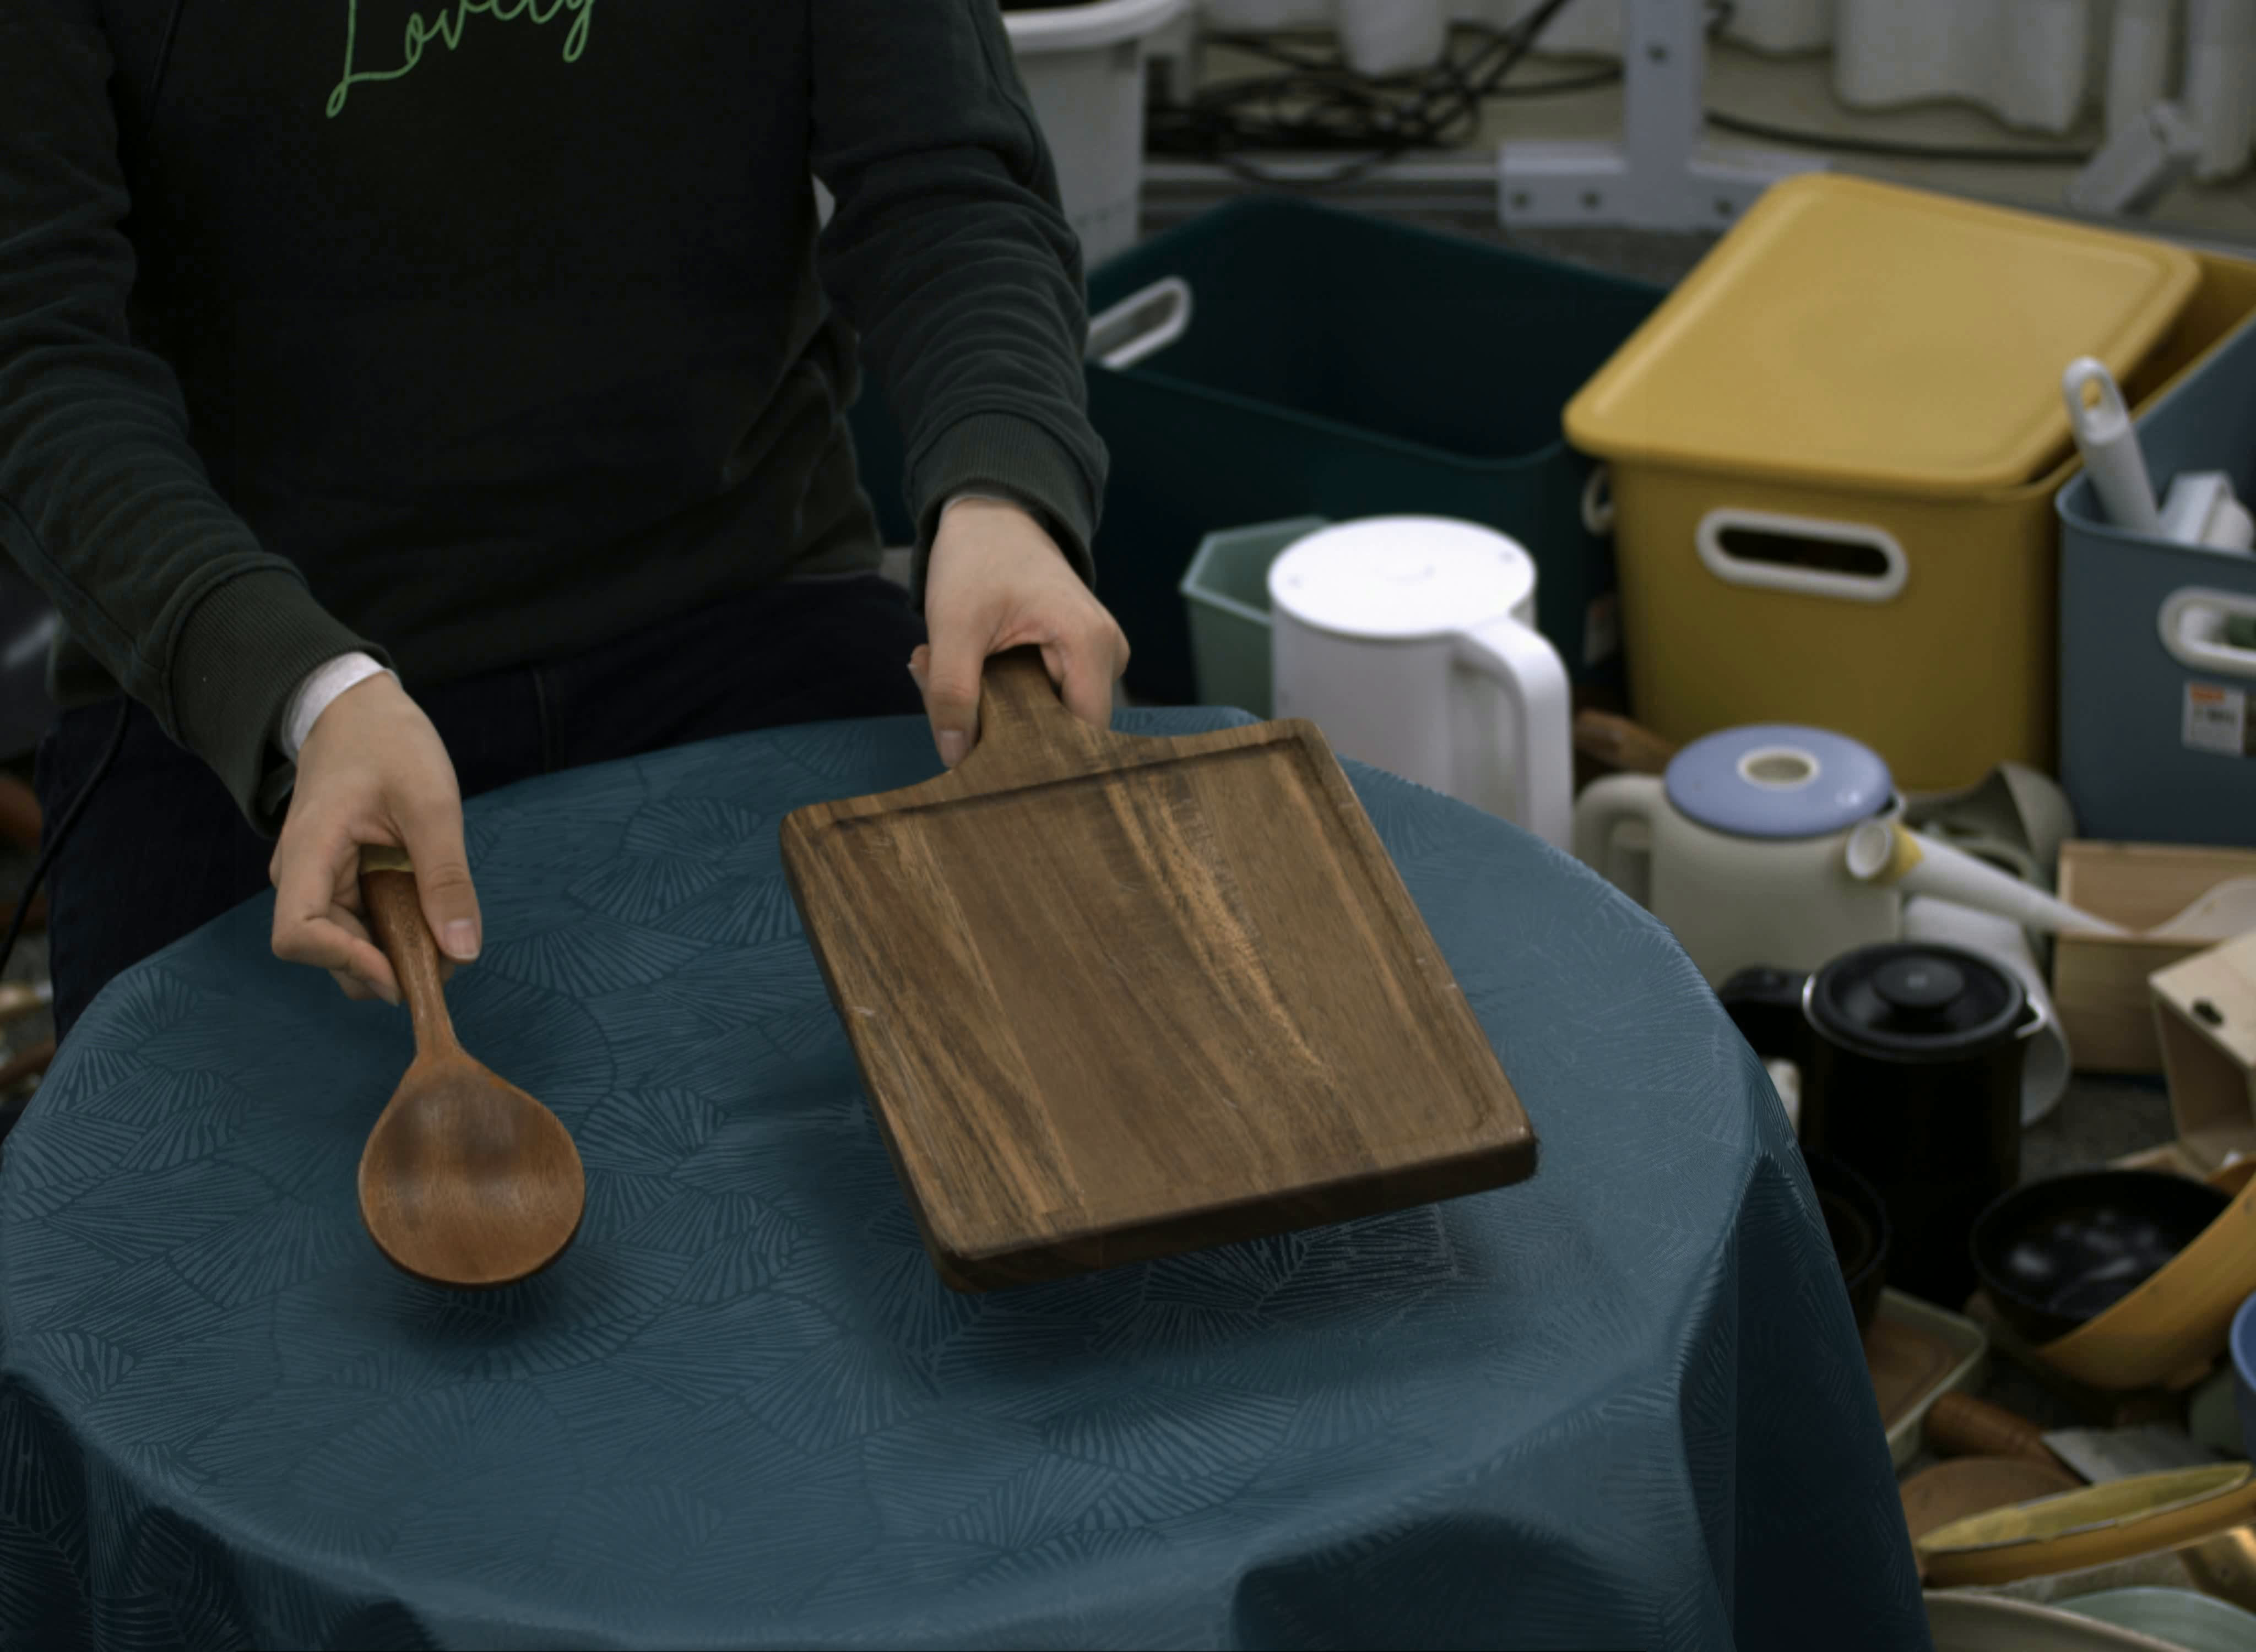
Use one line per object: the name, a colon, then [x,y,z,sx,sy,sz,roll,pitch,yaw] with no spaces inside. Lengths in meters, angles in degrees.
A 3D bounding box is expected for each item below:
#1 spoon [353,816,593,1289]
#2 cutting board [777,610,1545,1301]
spoon: [-0.227,0.075,1.860,0.075,0.017,0.219,-11,46,-10]
cutting board: [-0.007,0.026,1.894,0.201,0.023,0.357,-11,36,-11]
